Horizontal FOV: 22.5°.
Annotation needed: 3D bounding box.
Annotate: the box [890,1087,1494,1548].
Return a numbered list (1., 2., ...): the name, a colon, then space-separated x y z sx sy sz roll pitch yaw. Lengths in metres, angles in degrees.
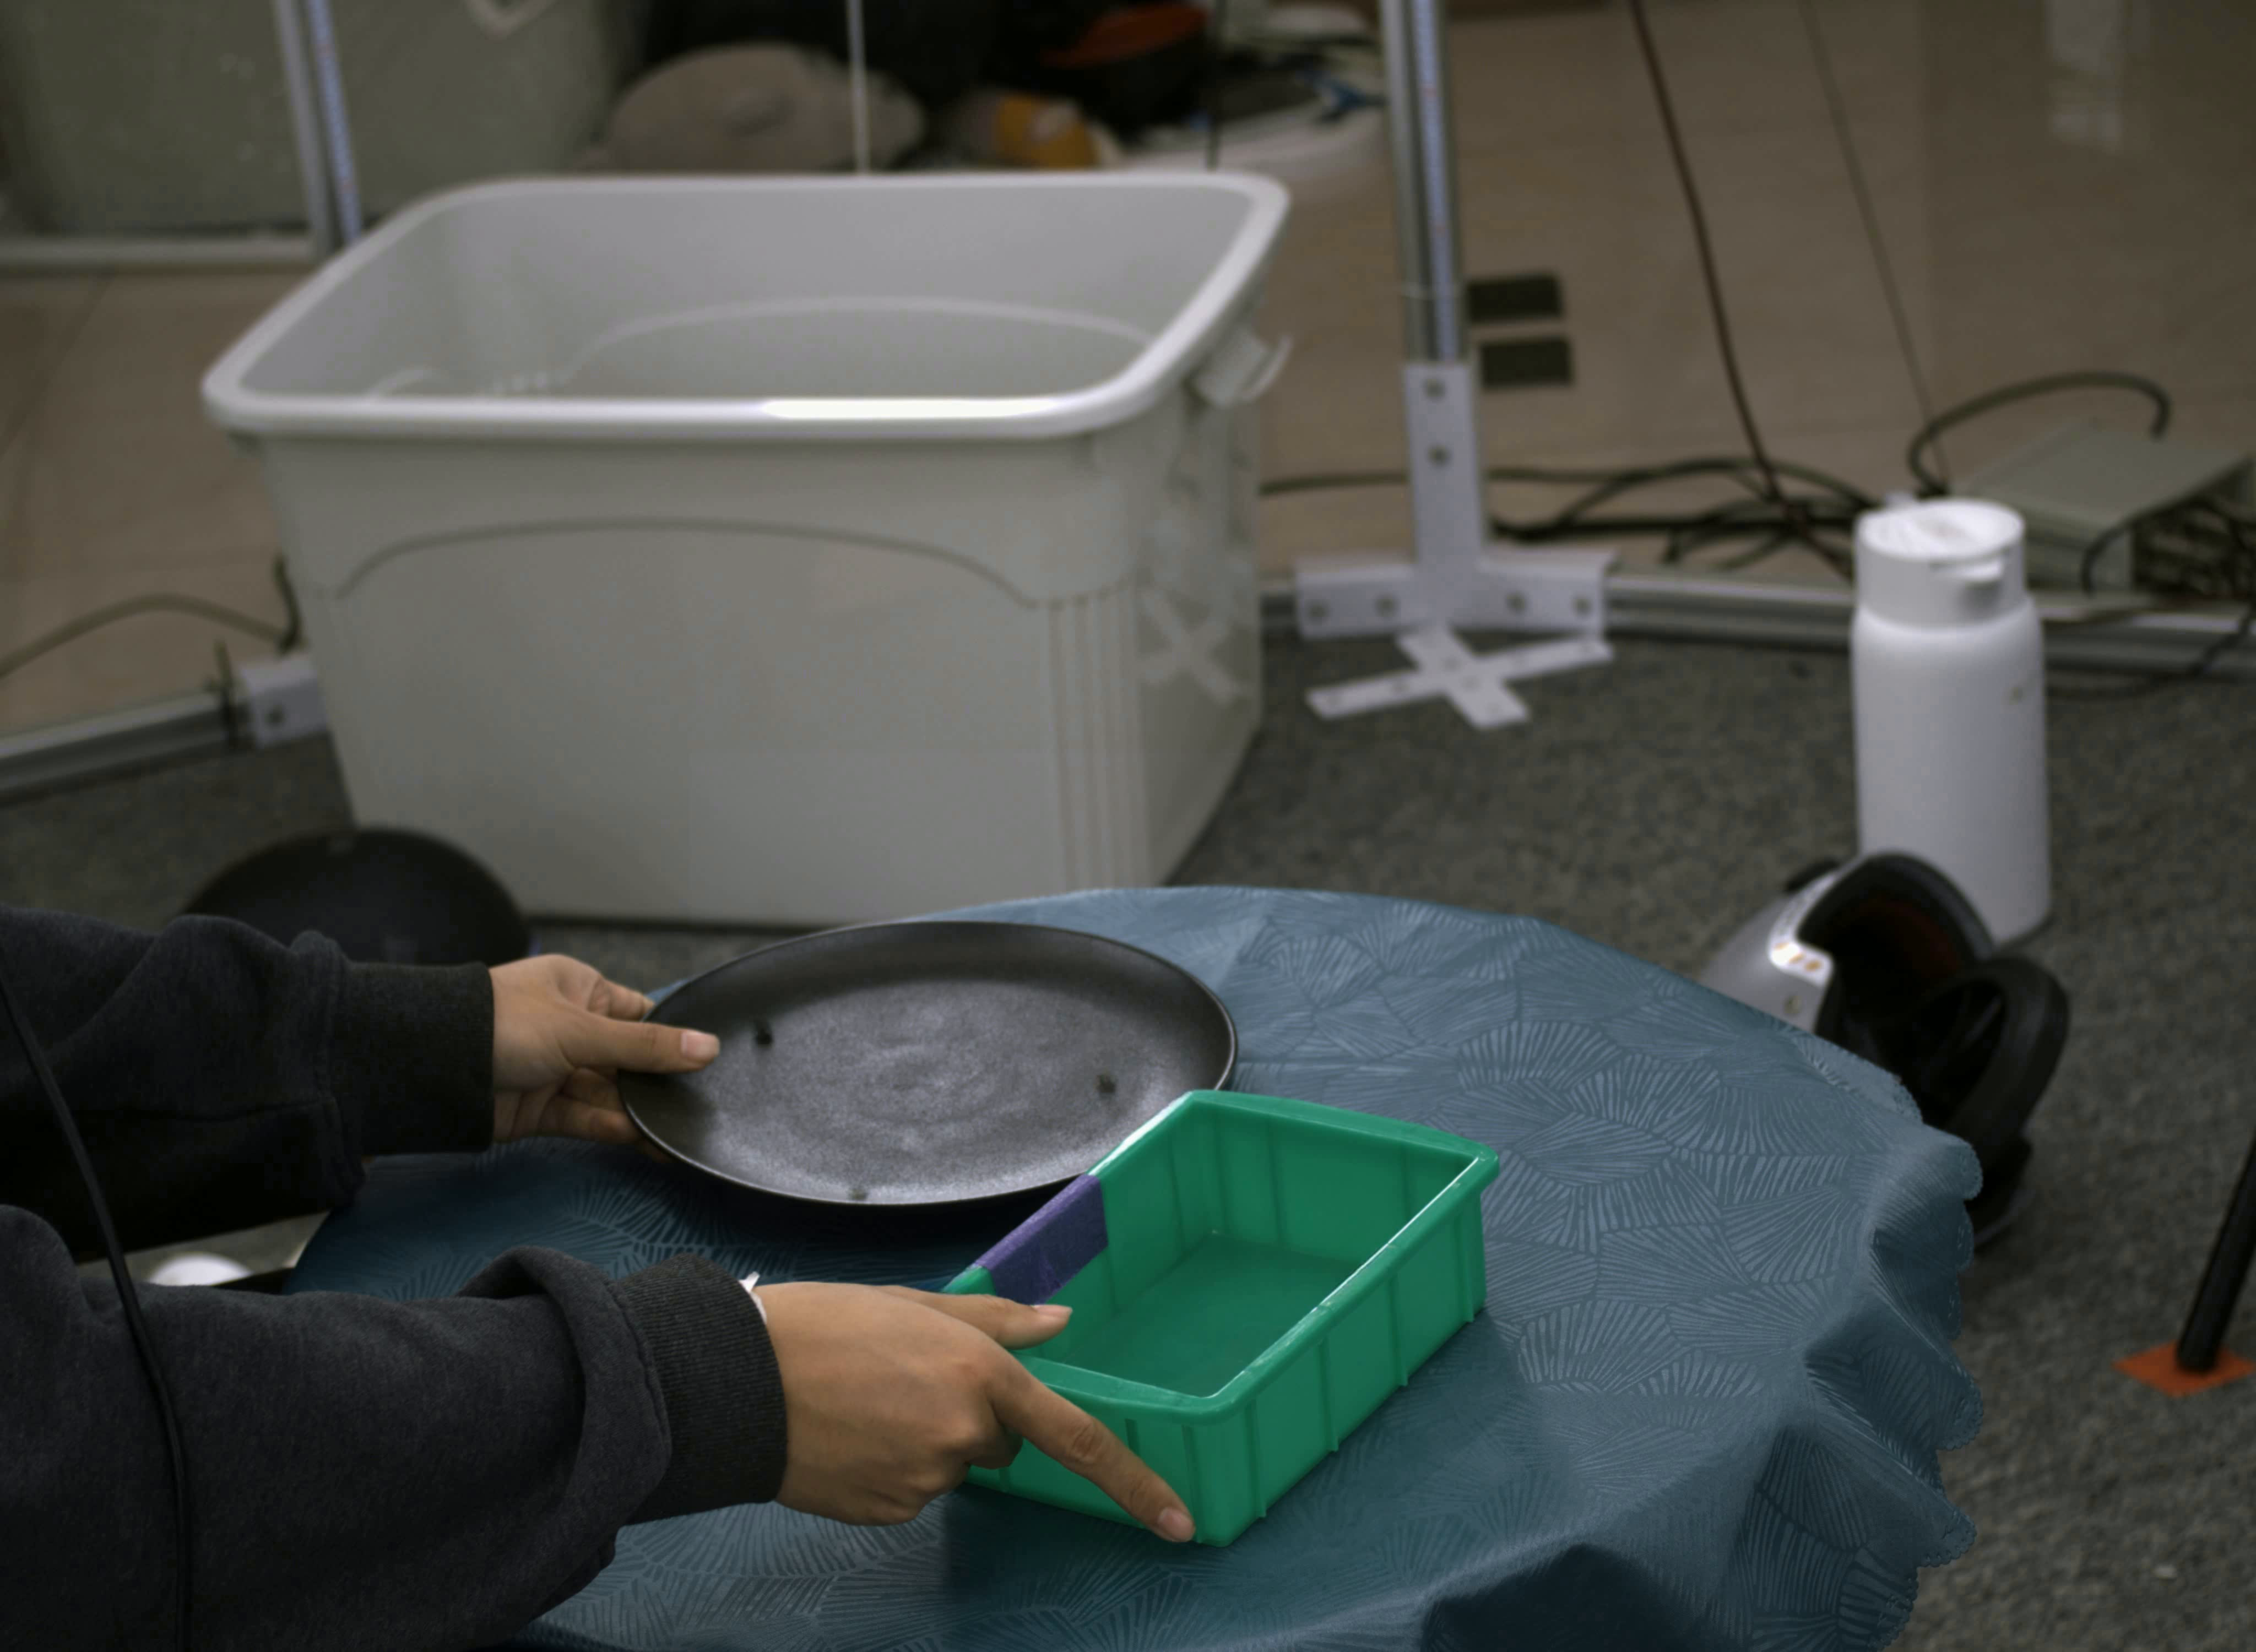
1. box: 0.028 0.172 1.993 0.138 0.066 0.208 8 31 32

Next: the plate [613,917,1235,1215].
1. plate: -0.079 0.098 2.213 0.244 0.024 0.241 -2 26 1
